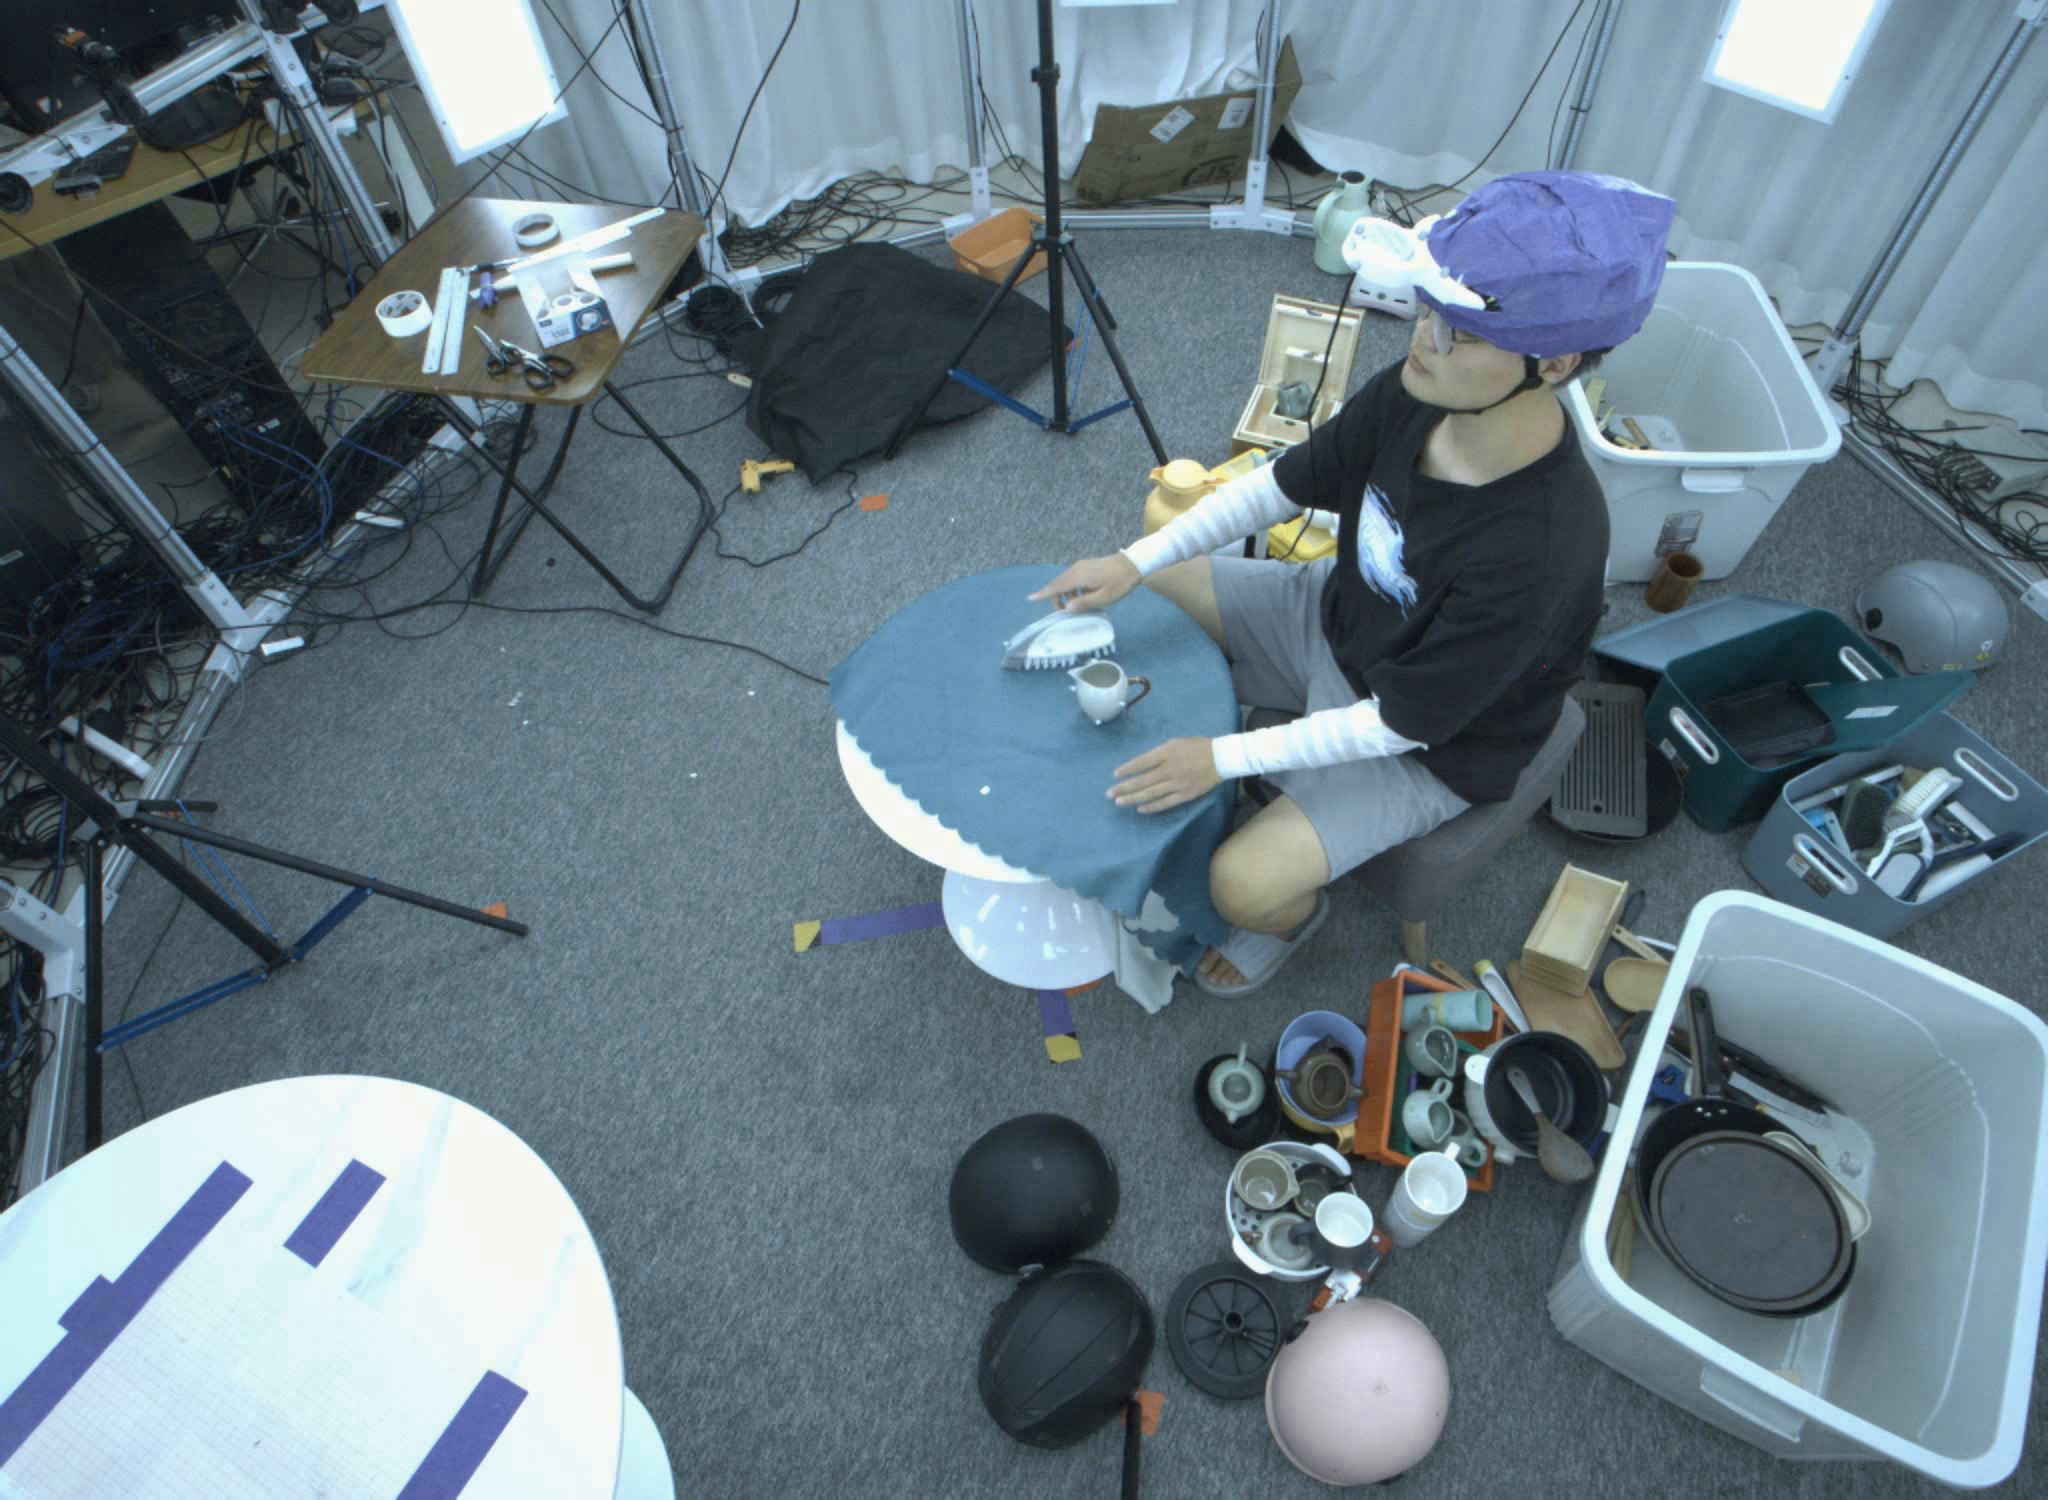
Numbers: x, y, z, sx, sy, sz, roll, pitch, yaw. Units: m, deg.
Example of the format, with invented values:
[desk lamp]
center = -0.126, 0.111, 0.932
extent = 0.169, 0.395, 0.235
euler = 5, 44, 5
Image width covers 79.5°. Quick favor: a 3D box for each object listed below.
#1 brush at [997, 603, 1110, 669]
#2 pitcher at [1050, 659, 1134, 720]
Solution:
[brush]
center = 0.039, -0.172, 1.842
extent = 0.176, 0.095, 0.060
euler = -14, 53, -2
[pitcher]
center = 0.101, -0.086, 1.783
extent = 0.118, 0.089, 0.075
euler = 3, 58, 7
